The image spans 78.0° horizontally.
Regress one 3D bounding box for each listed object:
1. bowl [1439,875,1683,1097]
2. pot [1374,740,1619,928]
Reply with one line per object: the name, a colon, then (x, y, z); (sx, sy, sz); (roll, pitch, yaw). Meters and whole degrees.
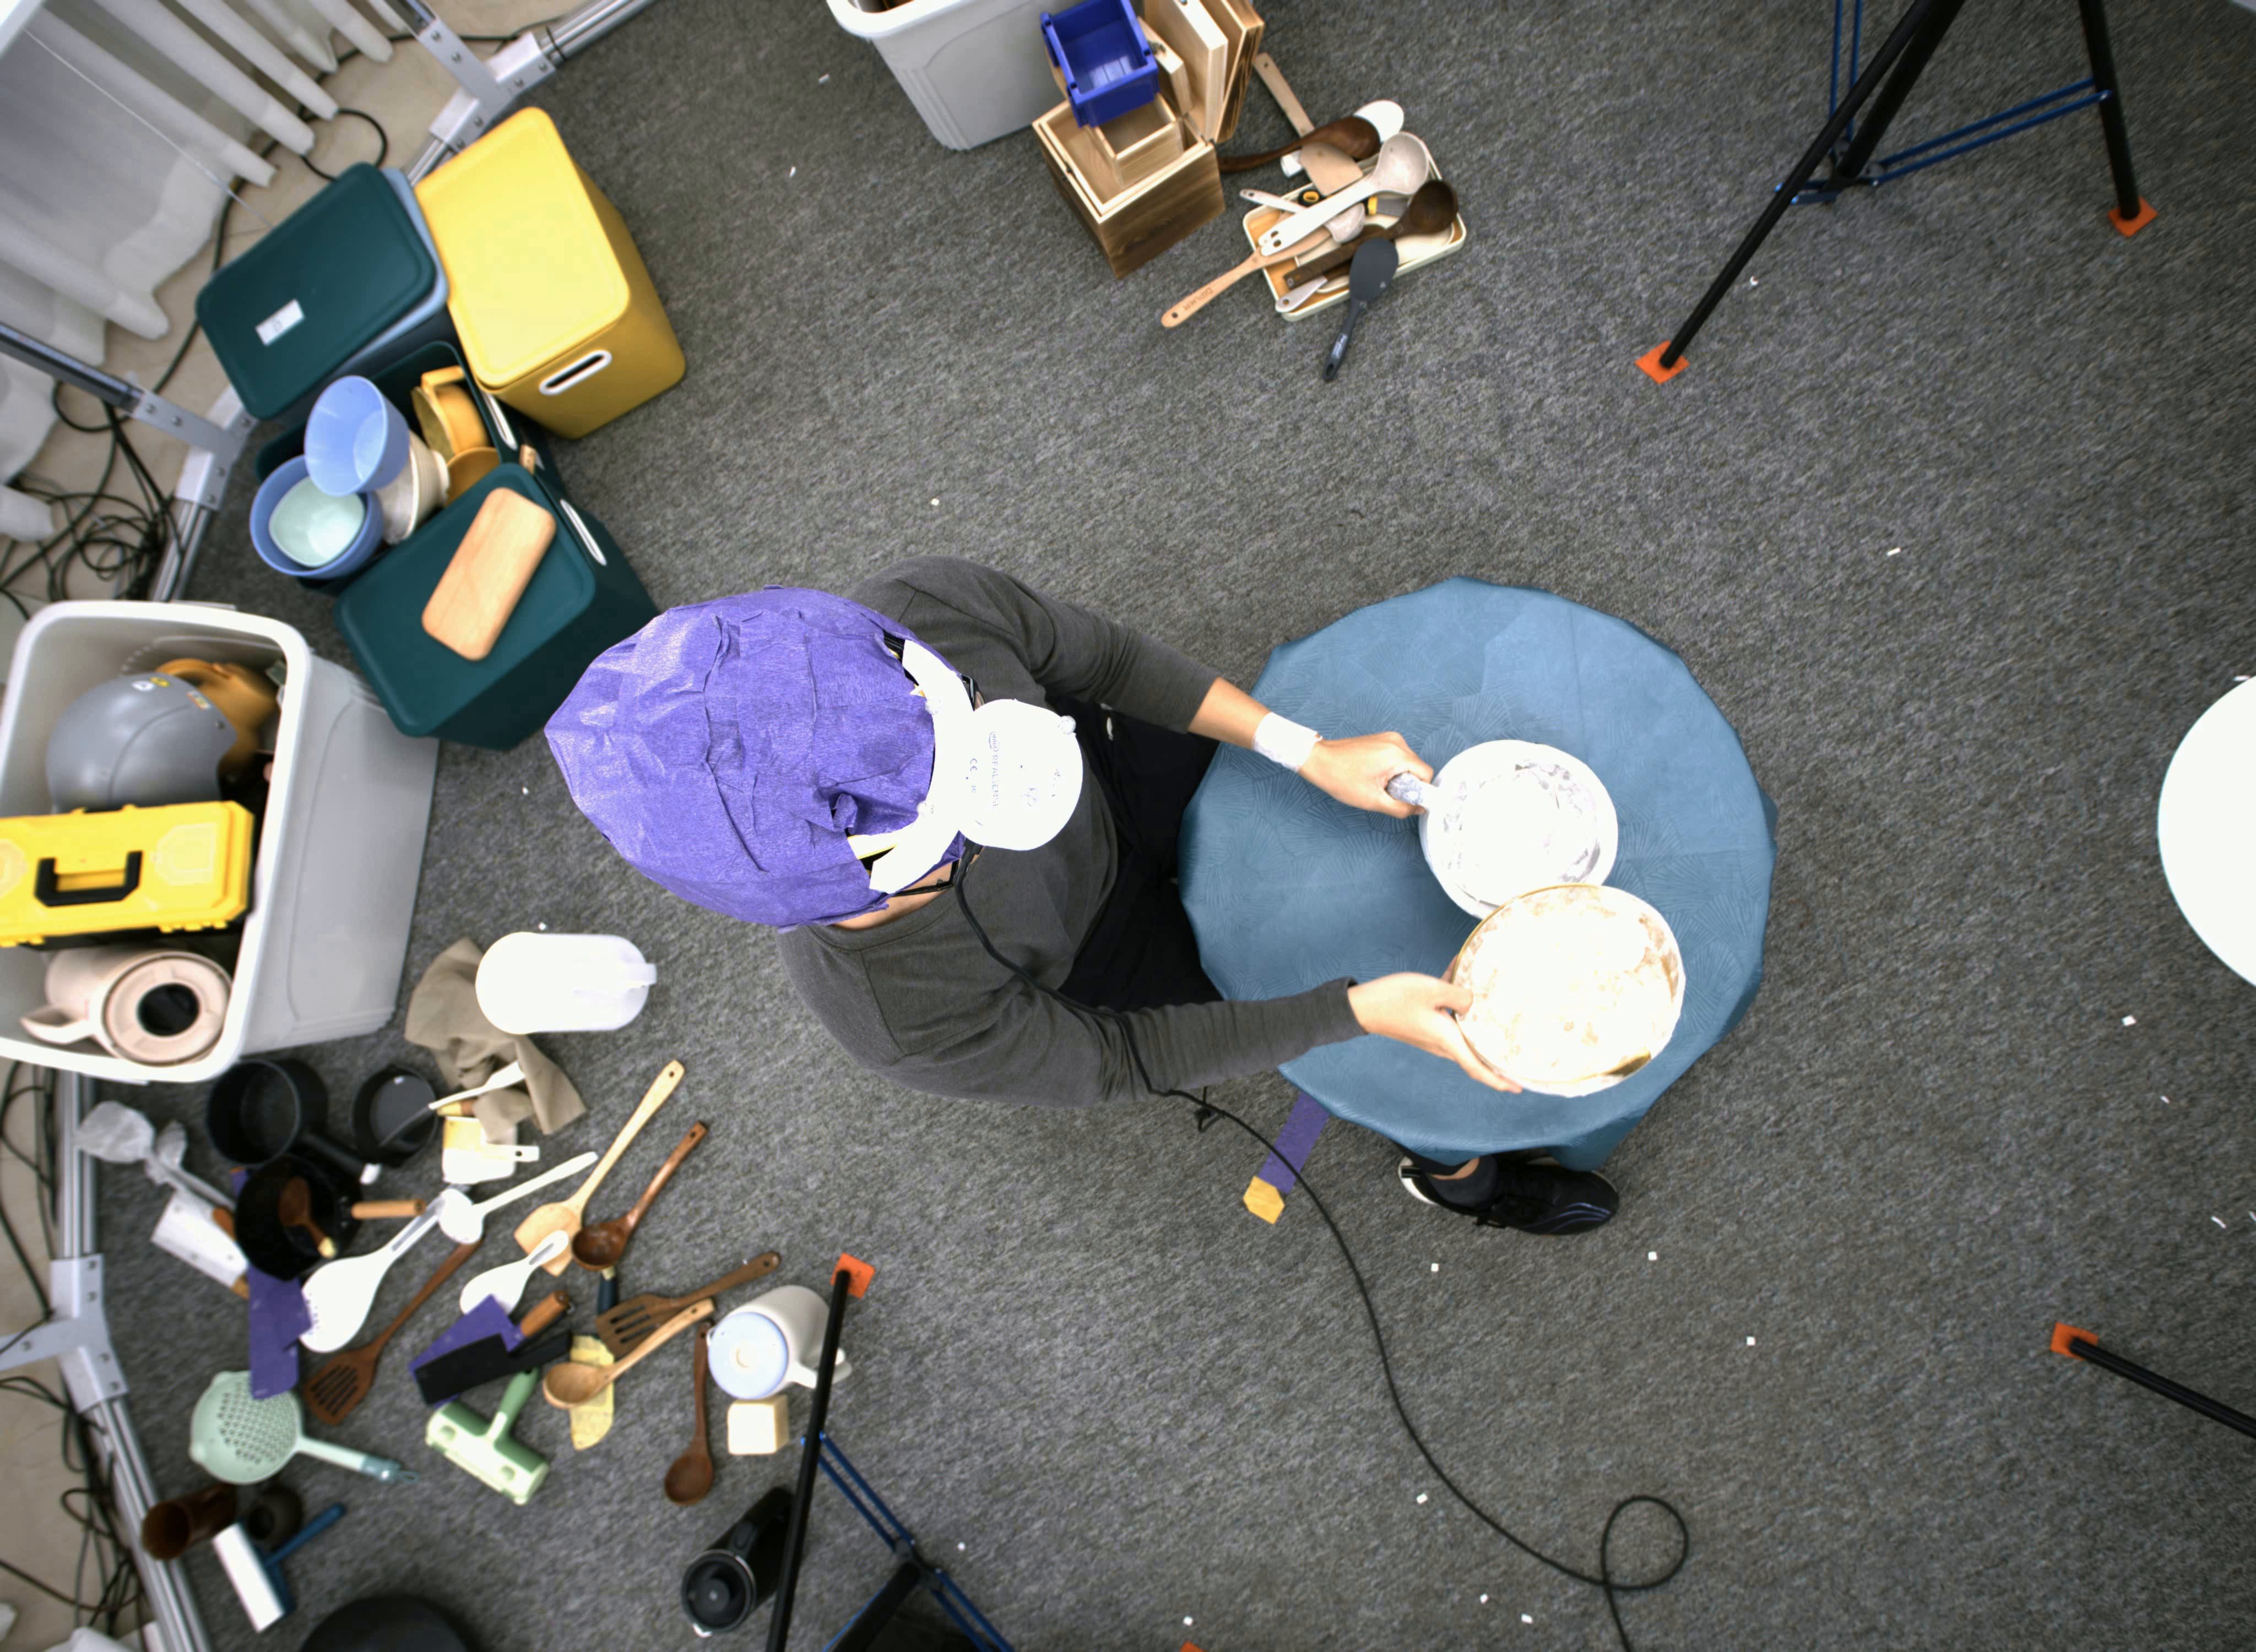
bowl: (0.398, 0.156, 1.247); (0.217, 0.096, 0.209); (-17, 53, 24)
pot: (0.356, -0.009, 1.363); (0.234, 0.135, 0.180); (22, 100, 5)
